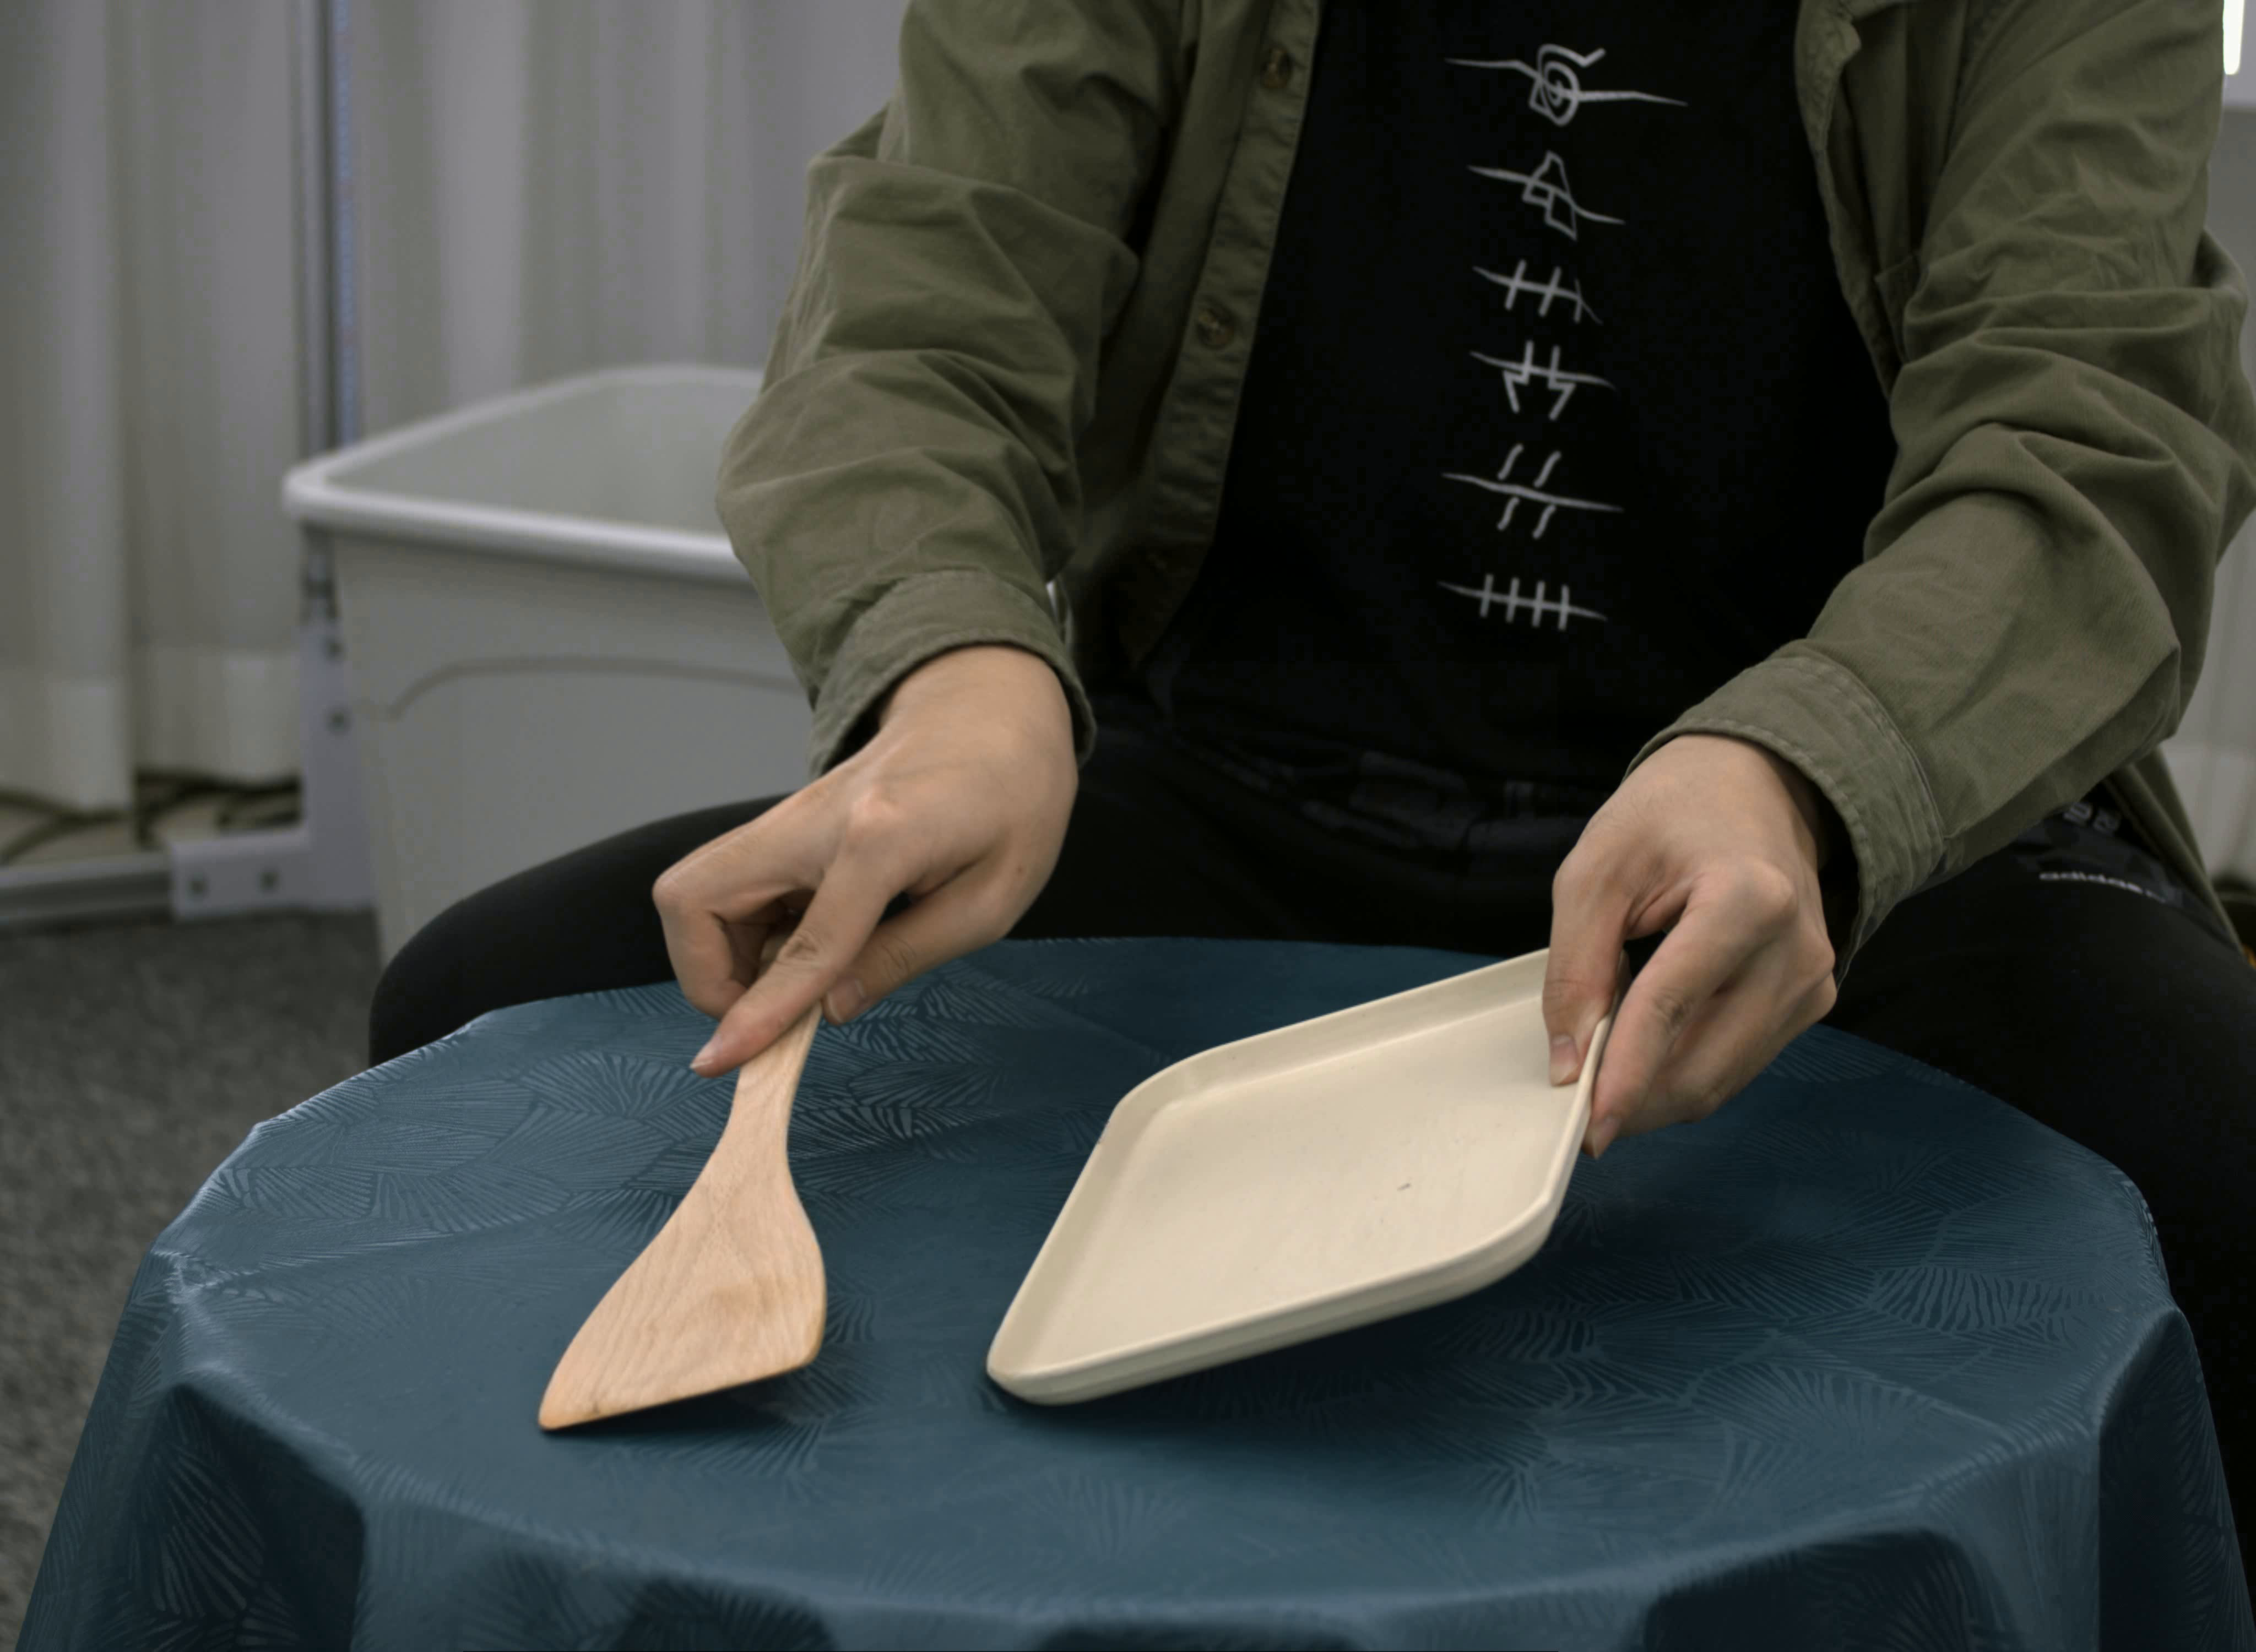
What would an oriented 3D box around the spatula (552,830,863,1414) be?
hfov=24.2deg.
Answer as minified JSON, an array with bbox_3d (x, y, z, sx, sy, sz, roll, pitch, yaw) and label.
[{"bbox_3d":[-0.109,0.080,1.574,0.079,0.017,0.325,-11,28,10],"label":"spatula"}]

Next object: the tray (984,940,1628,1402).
[{"bbox_3d":[0.057,0.099,1.527,0.170,0.017,0.239,-17,15,17],"label":"tray"}]
